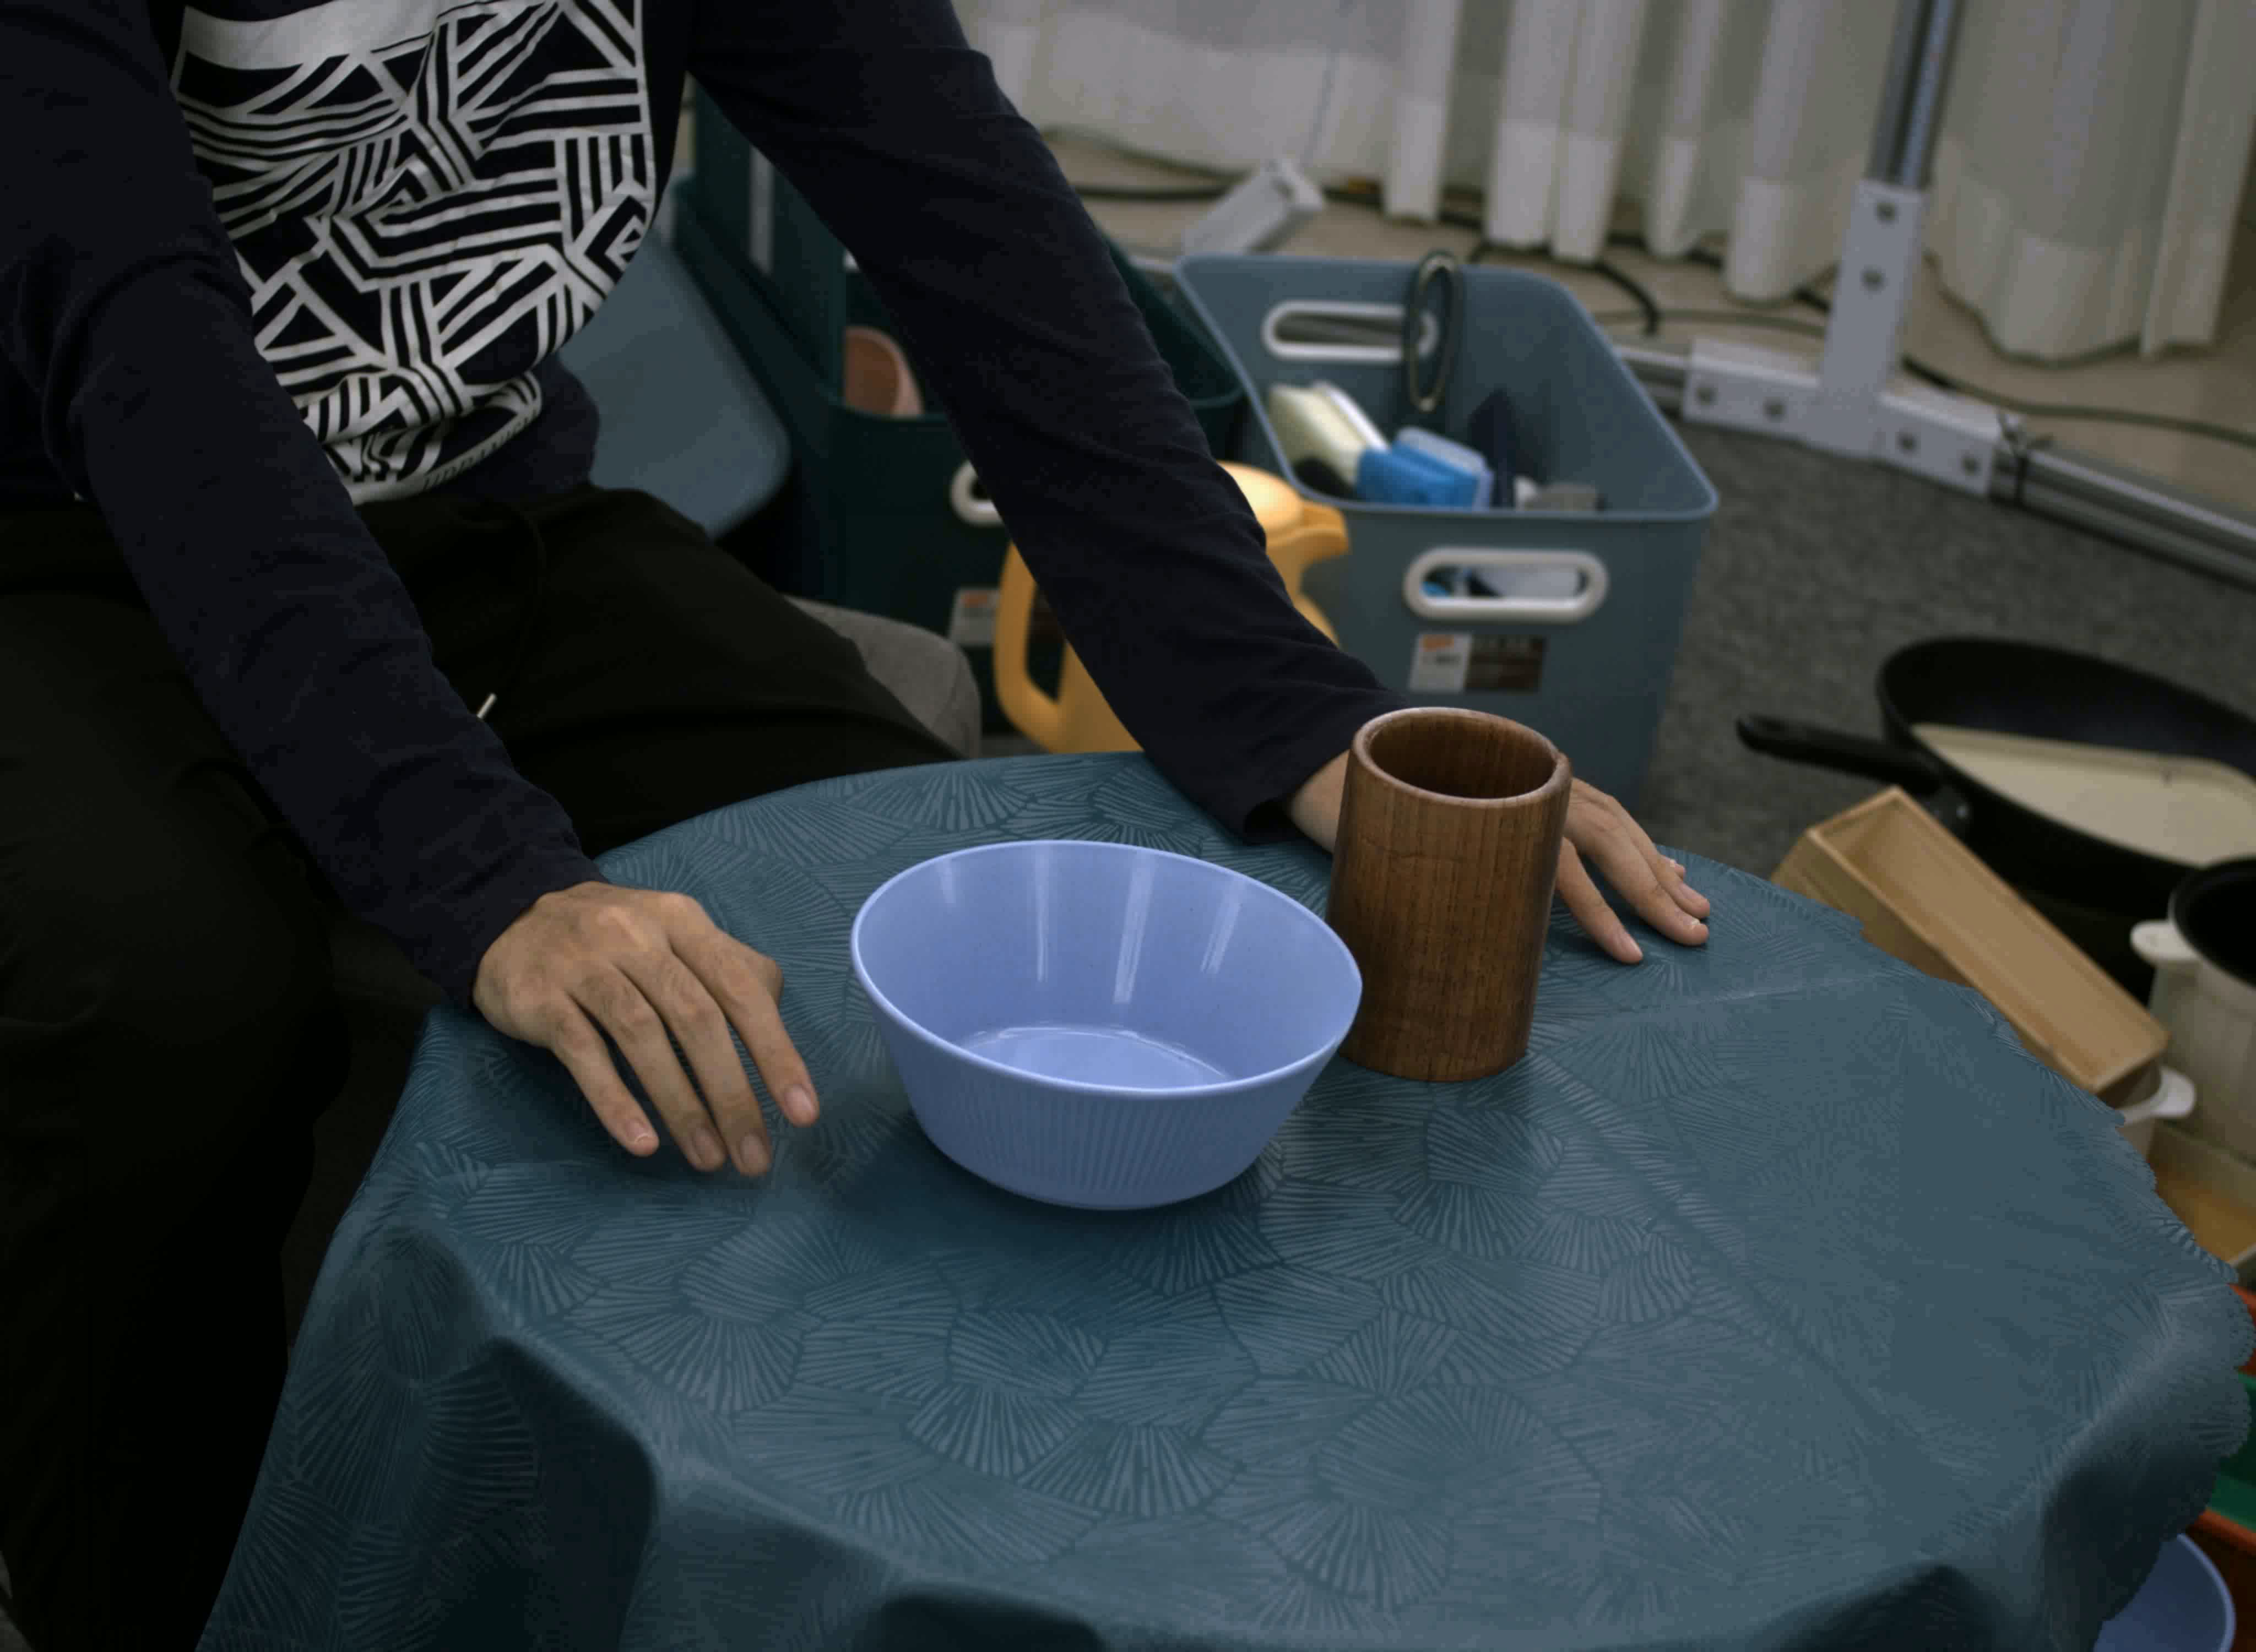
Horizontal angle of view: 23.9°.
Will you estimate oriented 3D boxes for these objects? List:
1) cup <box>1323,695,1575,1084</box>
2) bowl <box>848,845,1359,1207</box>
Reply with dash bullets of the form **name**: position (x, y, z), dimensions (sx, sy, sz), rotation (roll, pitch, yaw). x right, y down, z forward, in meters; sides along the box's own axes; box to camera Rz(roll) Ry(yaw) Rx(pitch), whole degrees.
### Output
- **cup**: position (0.112, 0.023, 1.902), dimensions (0.087, 0.118, 0.088), rotation (5, 24, -3)
- **bowl**: position (-0.012, 0.074, 1.824), dimensions (0.175, 0.070, 0.177), rotation (5, 26, -3)
